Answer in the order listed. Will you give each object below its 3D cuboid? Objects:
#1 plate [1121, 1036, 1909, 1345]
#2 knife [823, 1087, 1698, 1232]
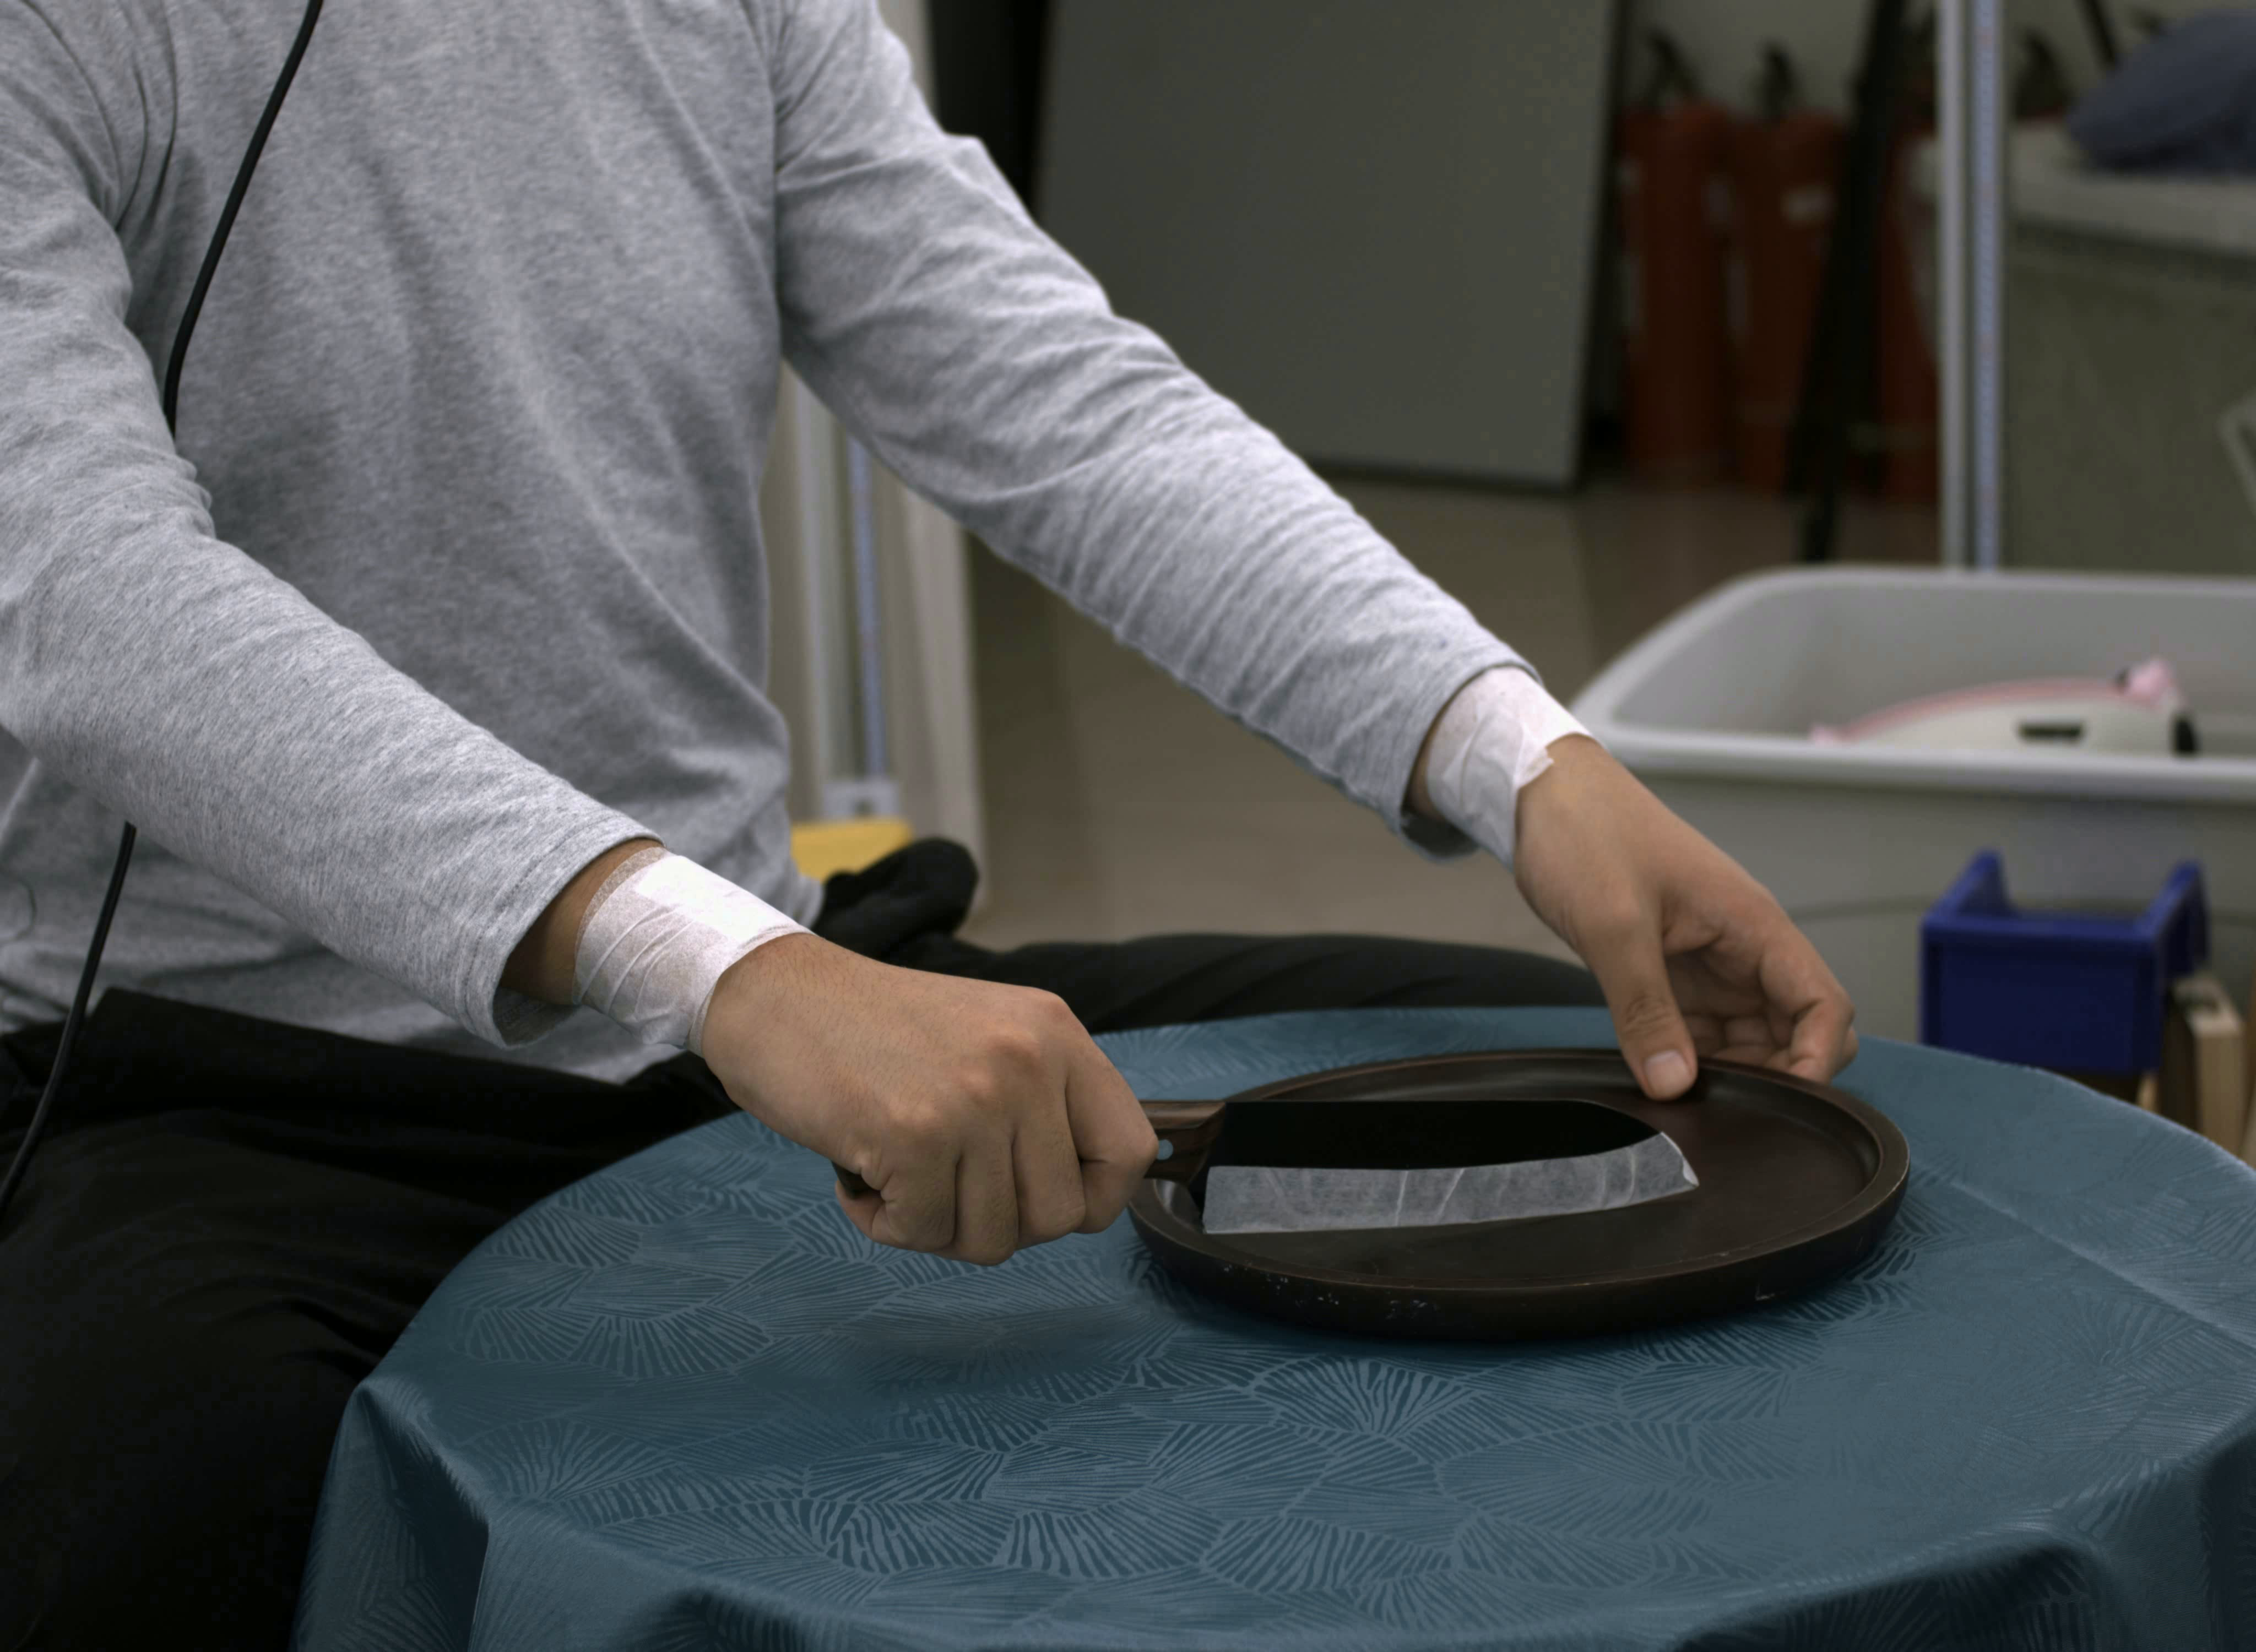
[{"bbox_3d":[0.123,0.116,1.710,0.251,0.029,0.255,-6,14,1],"label":"plate"},{"bbox_3d":[0.044,0.101,1.647,0.283,0.051,0.020,2,19,-17],"label":"knife"}]
